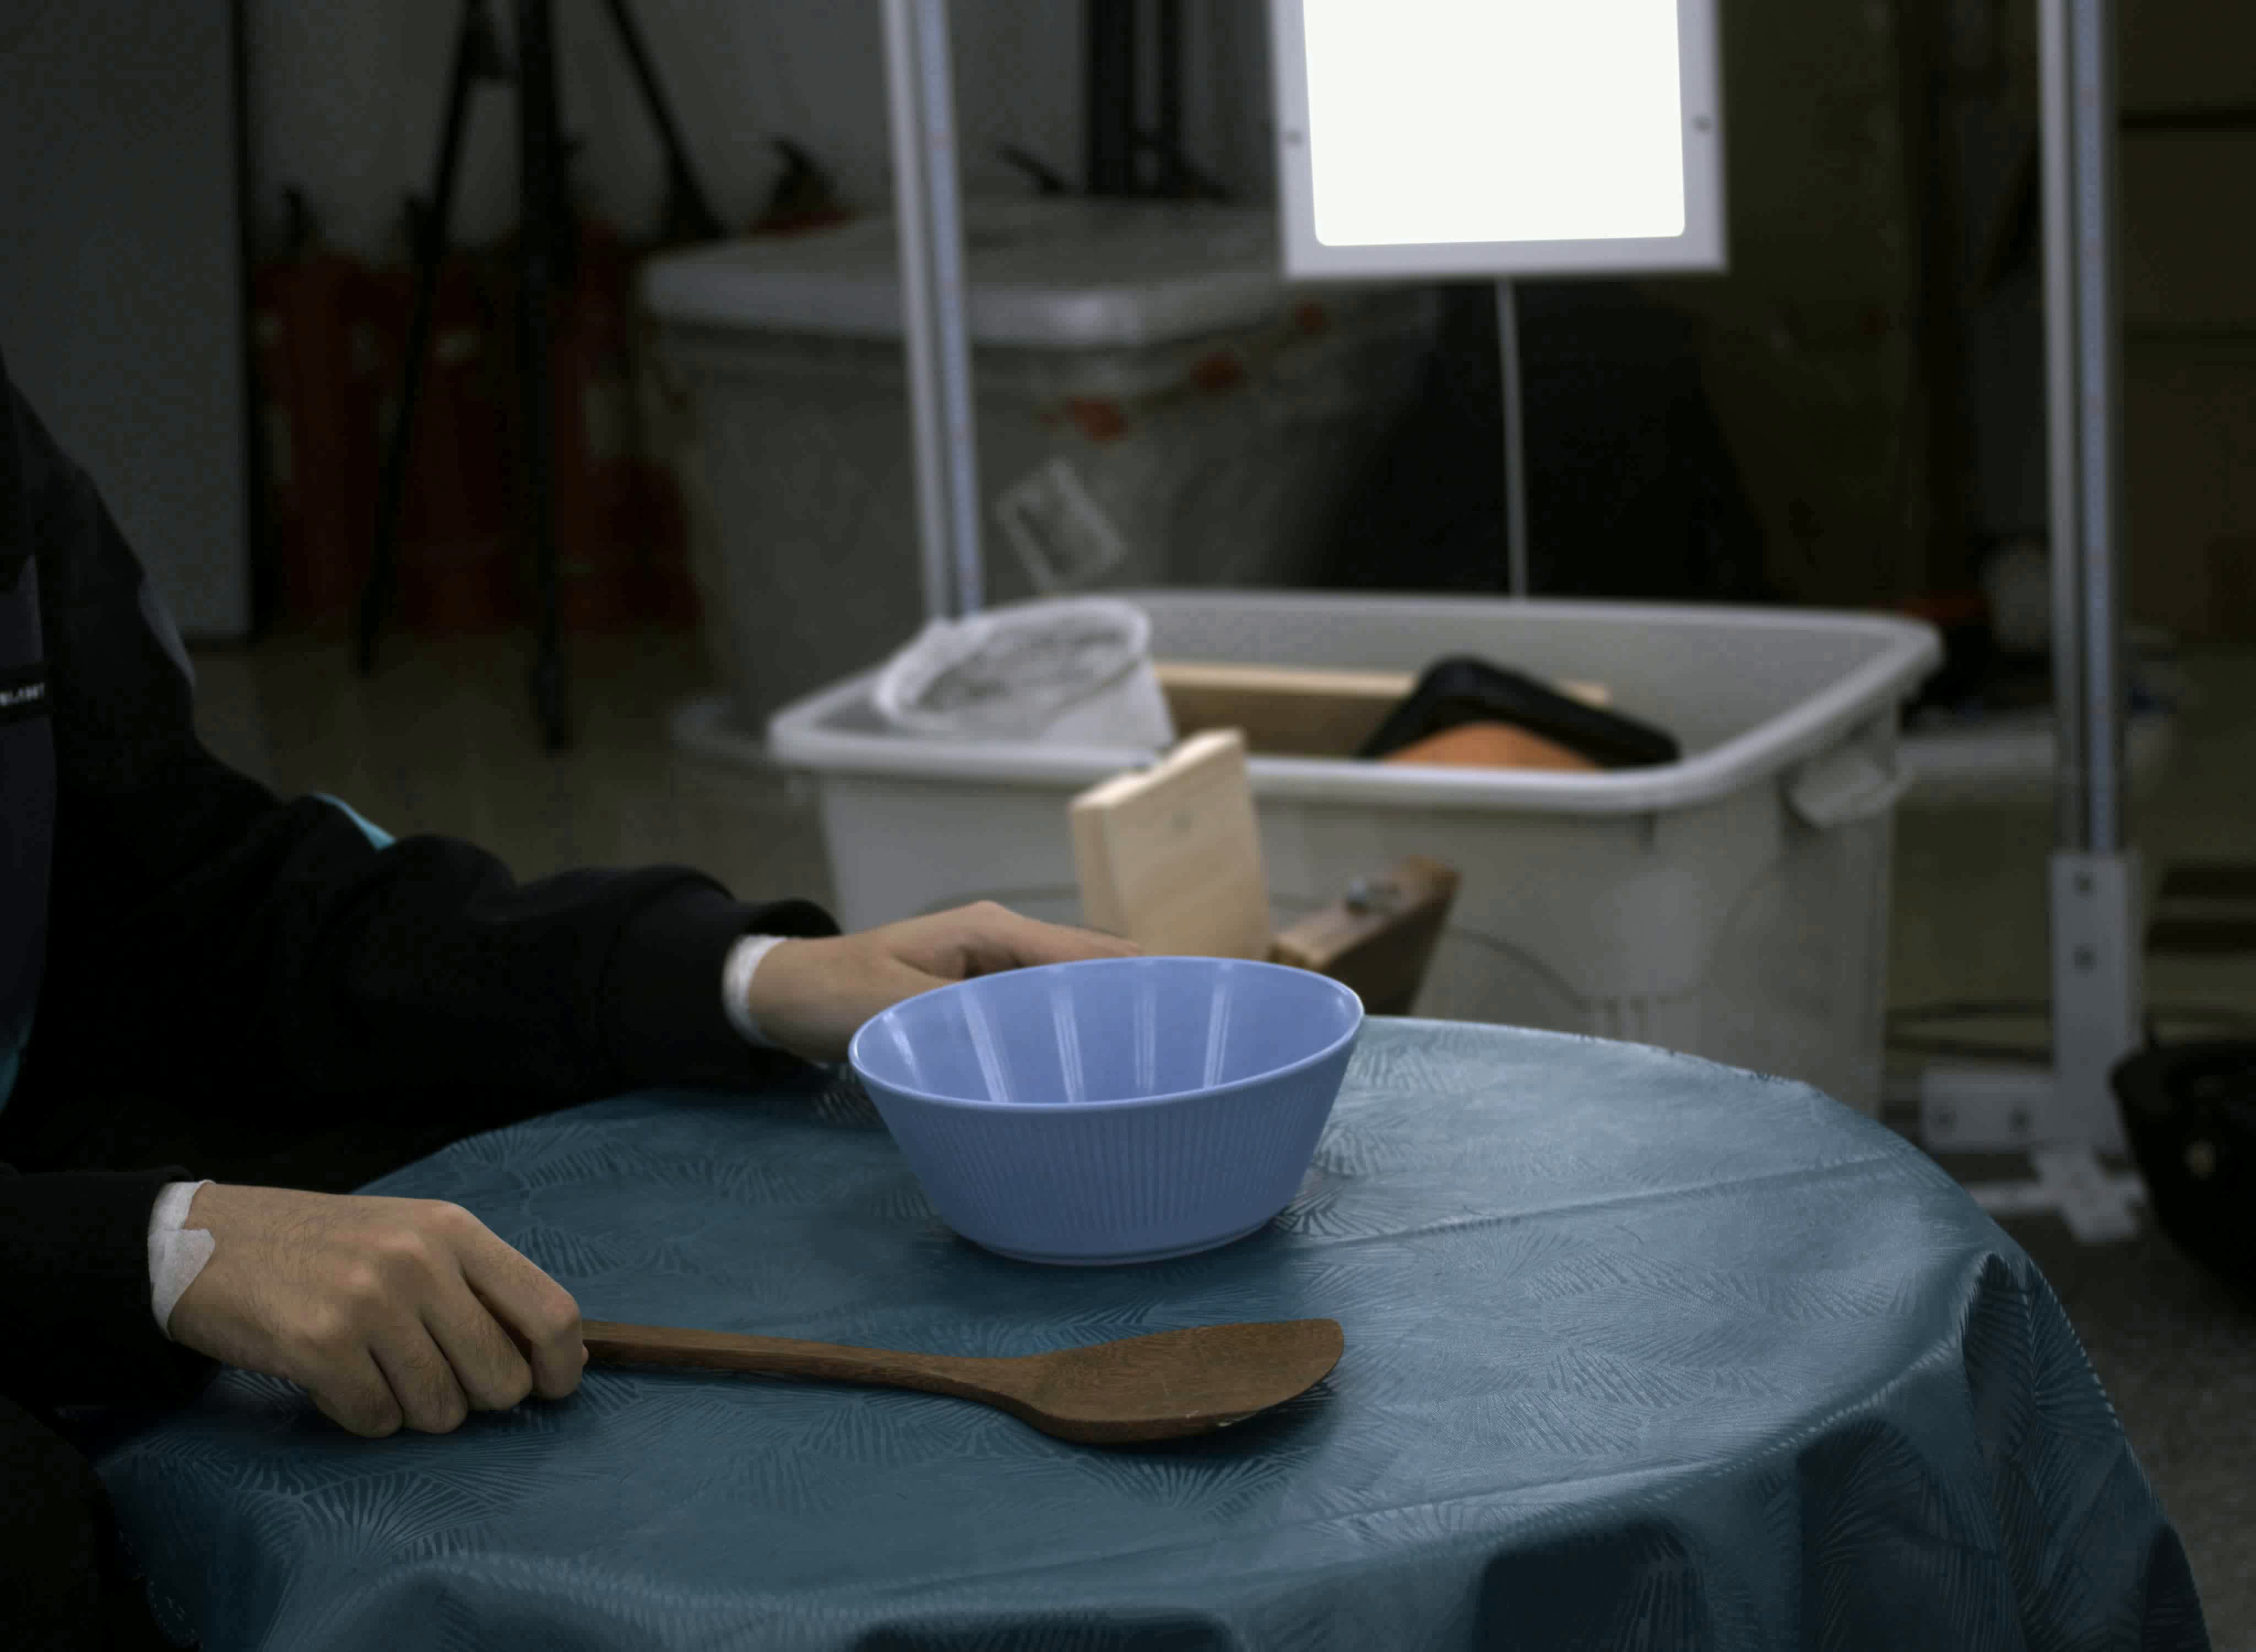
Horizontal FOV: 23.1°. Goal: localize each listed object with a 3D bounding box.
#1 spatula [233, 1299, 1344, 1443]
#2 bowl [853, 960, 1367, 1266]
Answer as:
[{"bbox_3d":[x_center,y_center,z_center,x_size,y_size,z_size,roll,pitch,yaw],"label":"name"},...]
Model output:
[{"bbox_3d":[-0.117,0.167,1.745,0.392,0.016,0.094,1,15,25],"label":"spatula"},{"bbox_3d":[-0.003,0.099,1.863,0.175,0.070,0.176,-6,13,0],"label":"bowl"}]
